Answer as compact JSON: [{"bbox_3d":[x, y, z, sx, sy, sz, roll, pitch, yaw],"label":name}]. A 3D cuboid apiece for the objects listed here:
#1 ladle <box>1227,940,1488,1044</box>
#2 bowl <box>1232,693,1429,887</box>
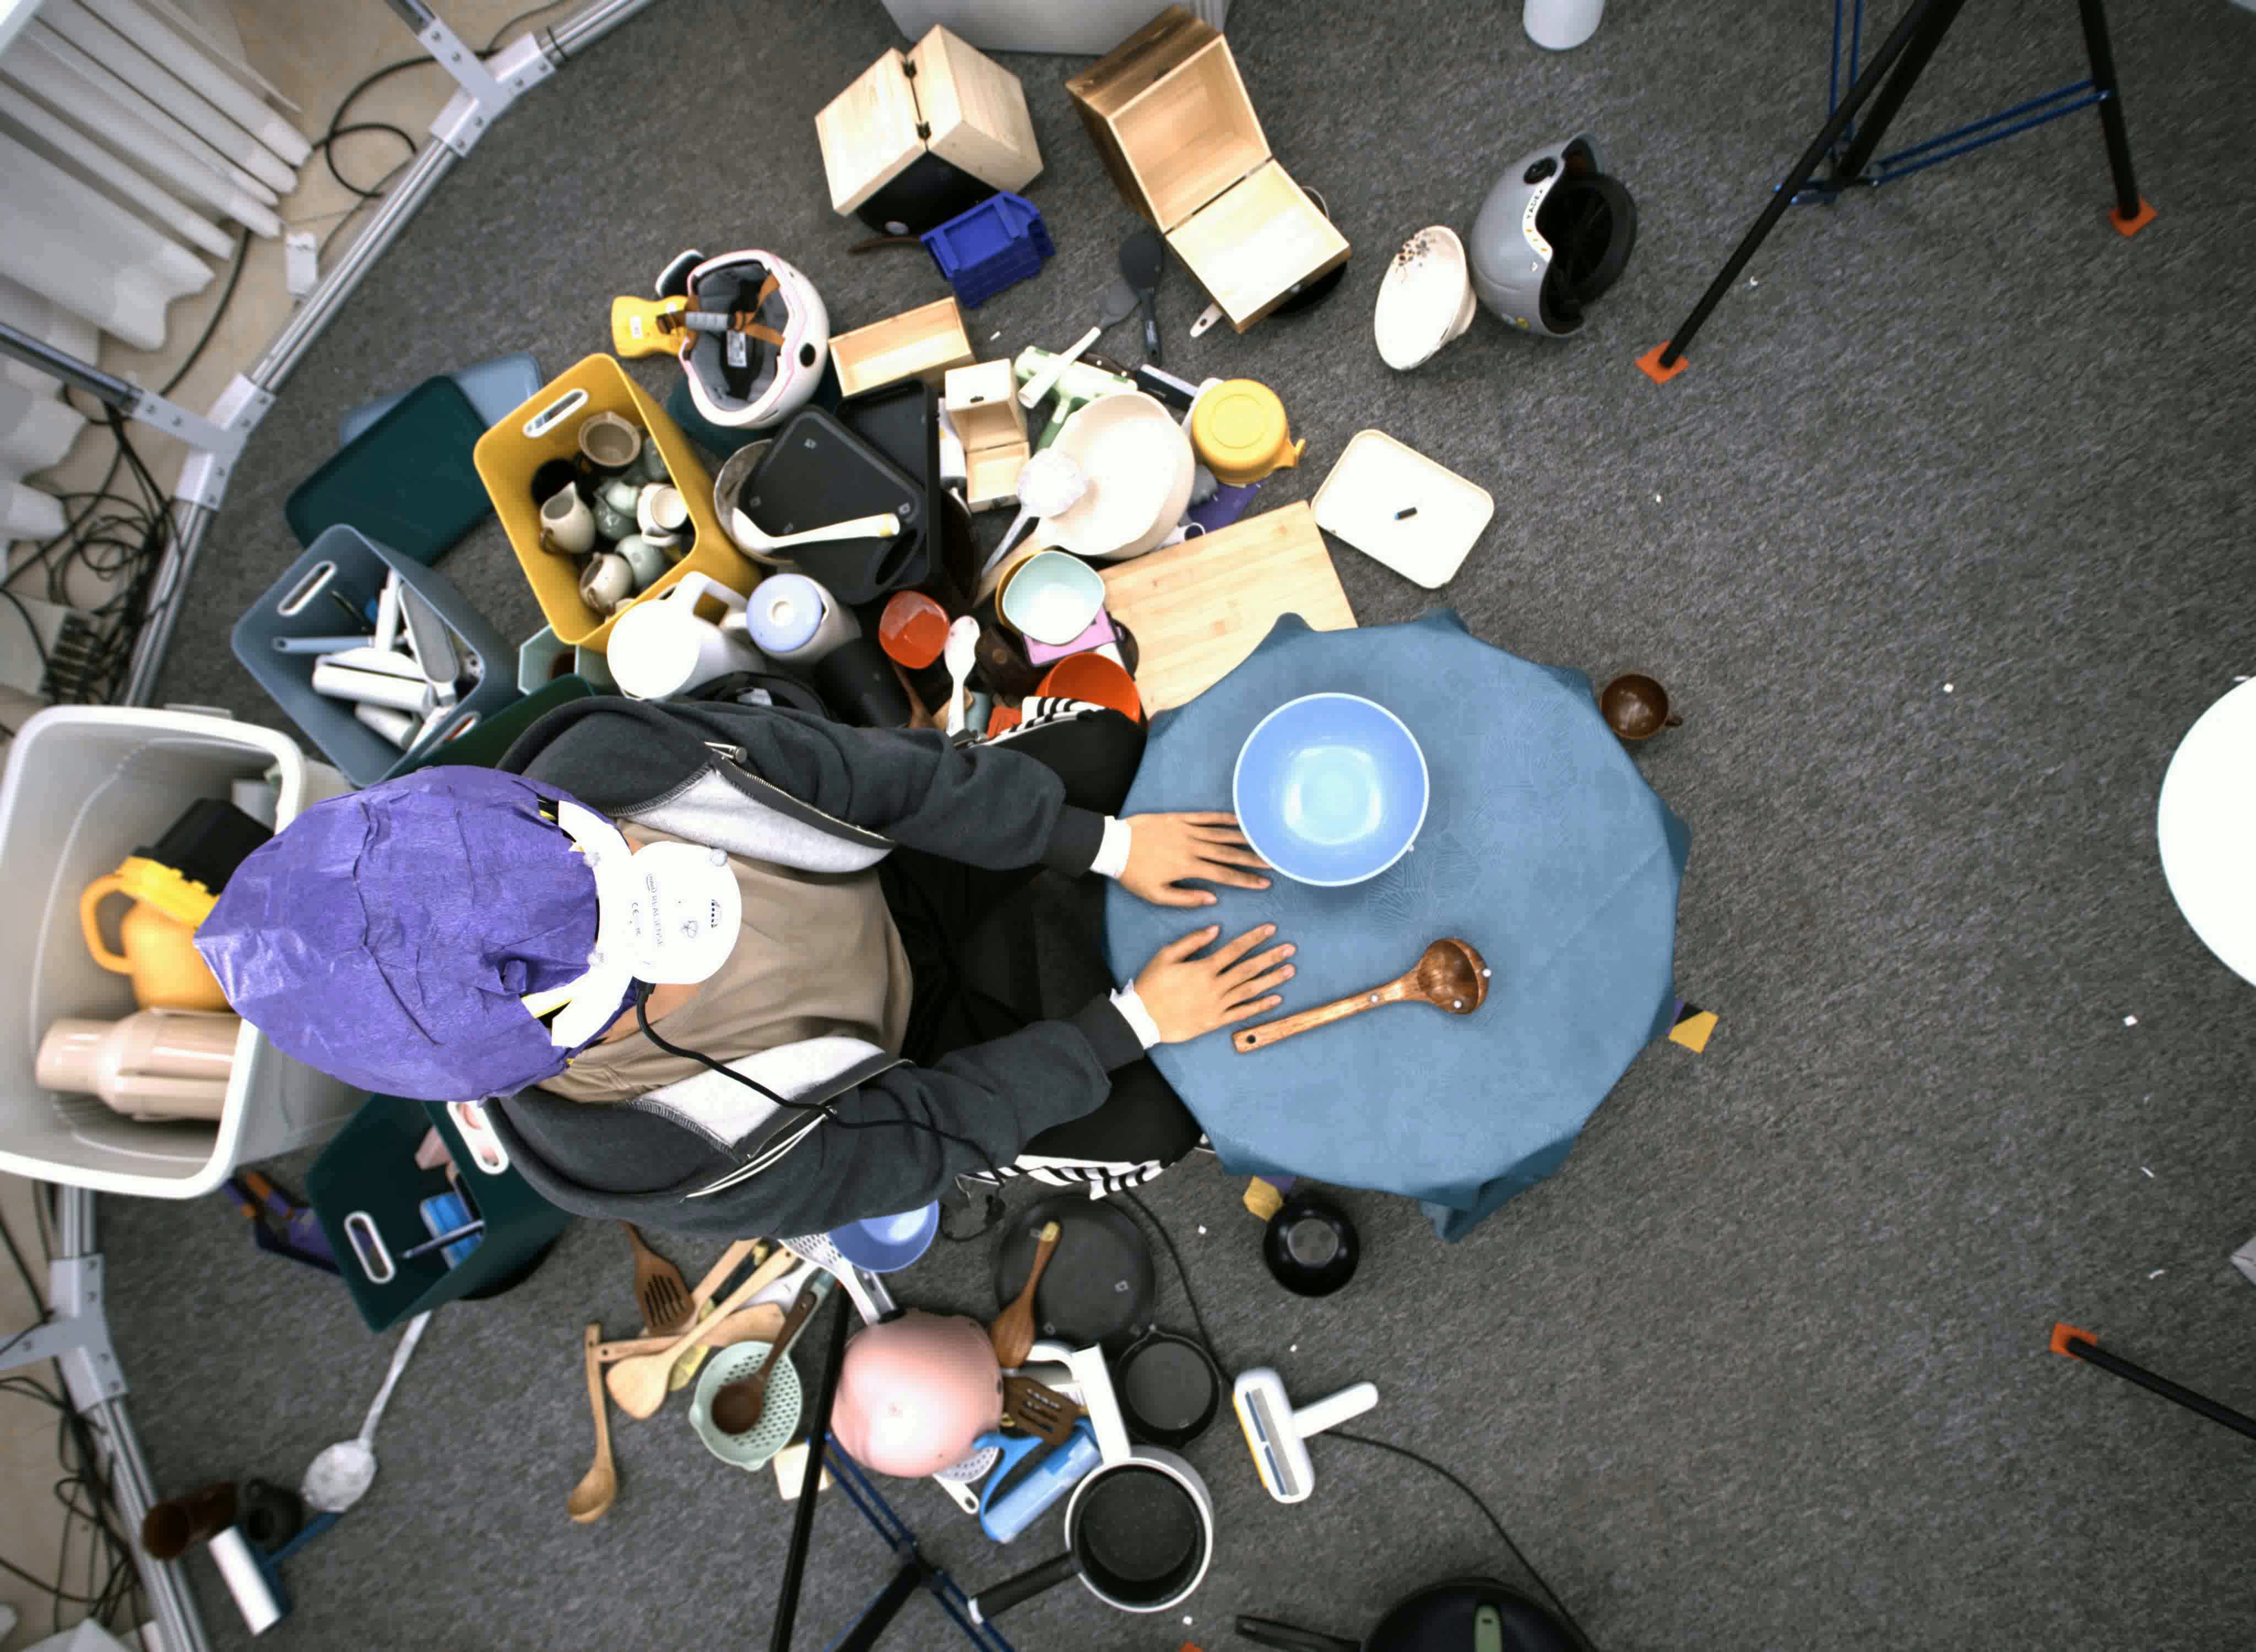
[{"bbox_3d":[0.233,0.185,1.420,0.275,0.076,0.081,-17,86,9],"label":"ladle"},{"bbox_3d":[0.211,-0.034,1.429,0.197,0.095,0.196,-1,87,11],"label":"bowl"}]
